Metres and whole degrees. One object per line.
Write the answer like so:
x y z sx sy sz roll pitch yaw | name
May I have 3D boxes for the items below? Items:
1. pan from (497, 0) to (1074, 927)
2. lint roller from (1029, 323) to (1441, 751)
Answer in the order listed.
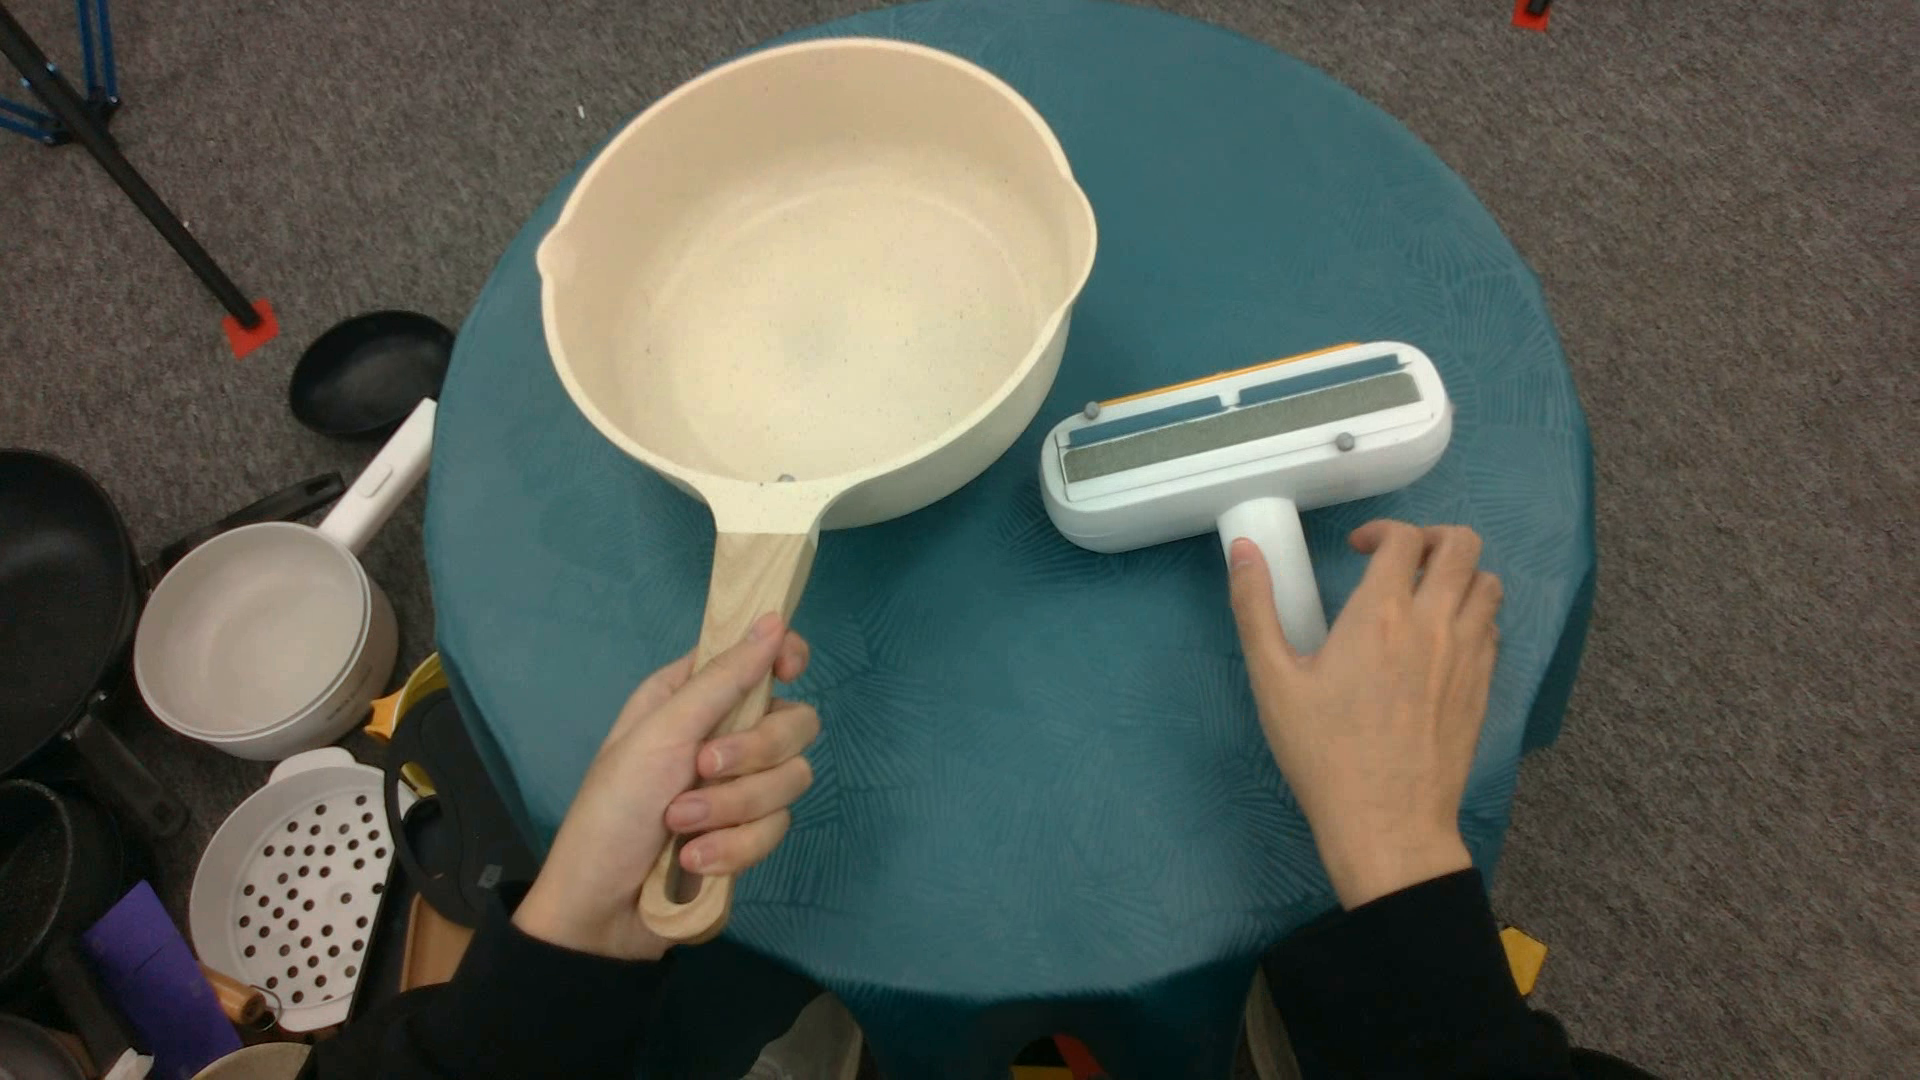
-0.085 -0.048 0.613 0.263 0.101 0.436 3 68 5 | pan
0.136 0.000 0.645 0.193 0.074 0.193 -8 66 3 | lint roller
